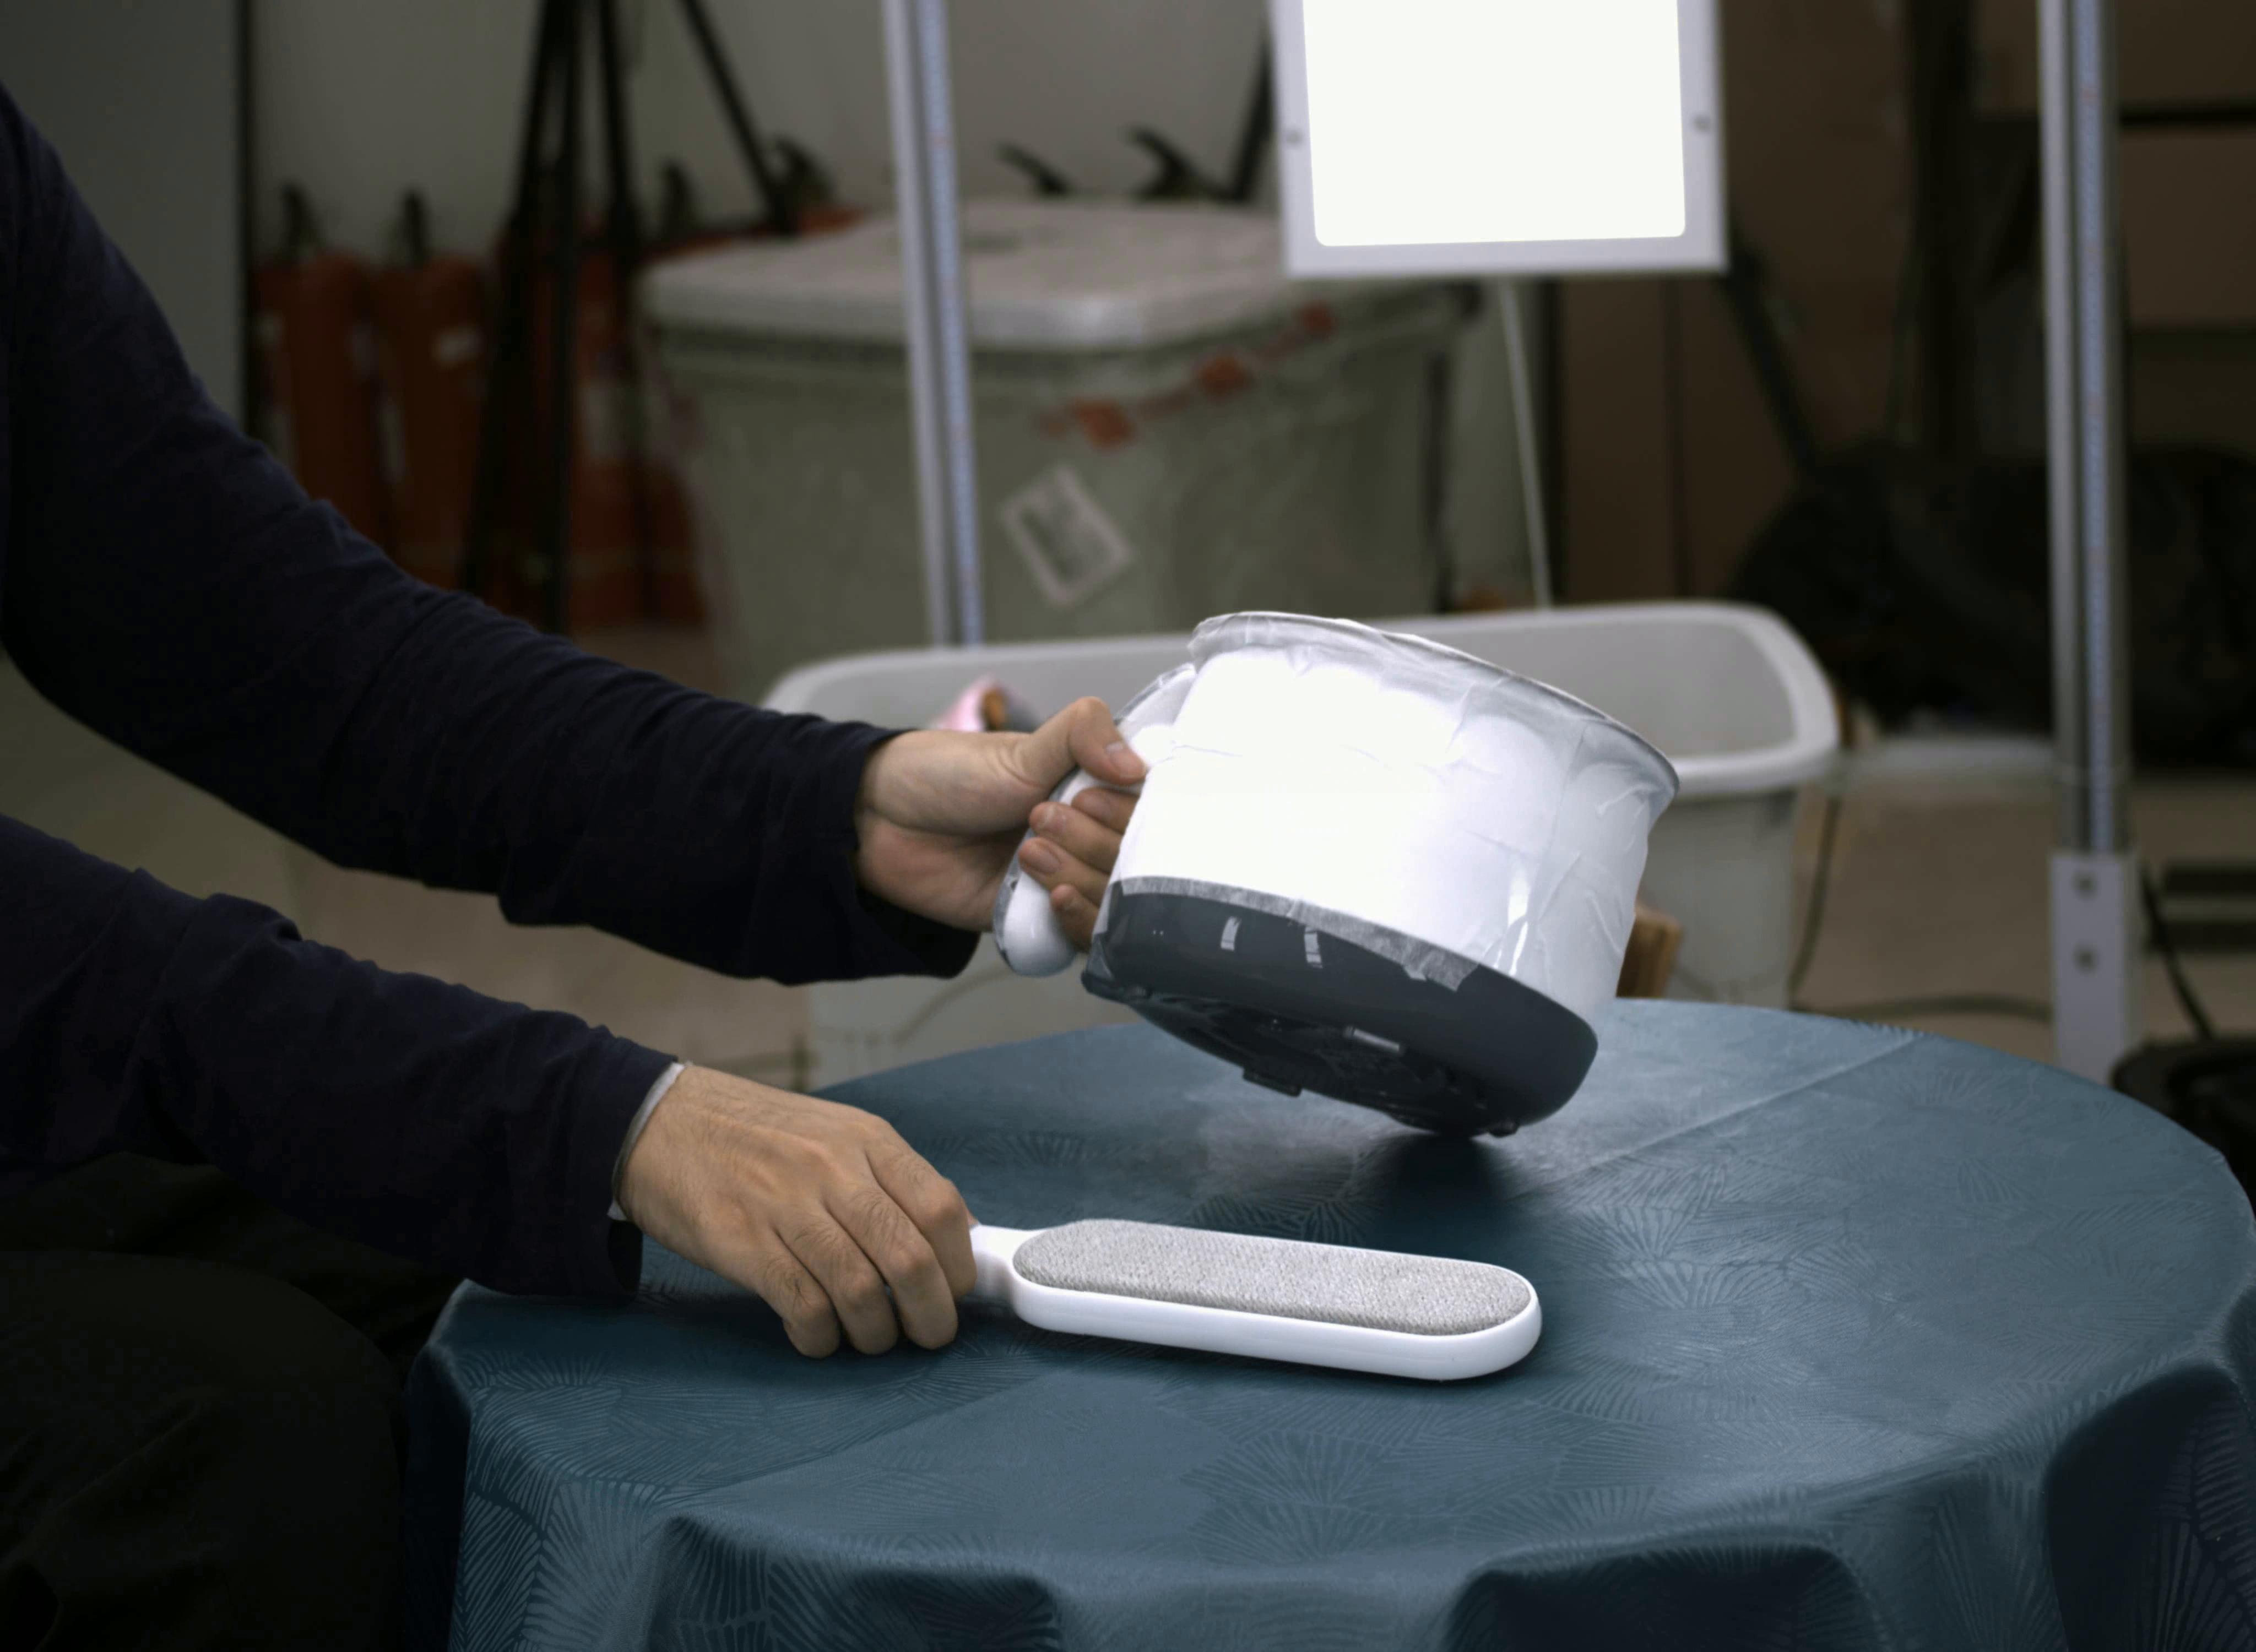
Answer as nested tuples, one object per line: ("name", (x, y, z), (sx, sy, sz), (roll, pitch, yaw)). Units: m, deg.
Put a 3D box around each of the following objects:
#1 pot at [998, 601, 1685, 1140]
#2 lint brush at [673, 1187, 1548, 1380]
("pot", (0.065, 0.013, 1.900), (0.238, 0.136, 0.176), (11, -15, 35))
("lint brush", (-0.011, 0.141, 1.761), (0.314, 0.021, 0.059), (5, 29, 28))
